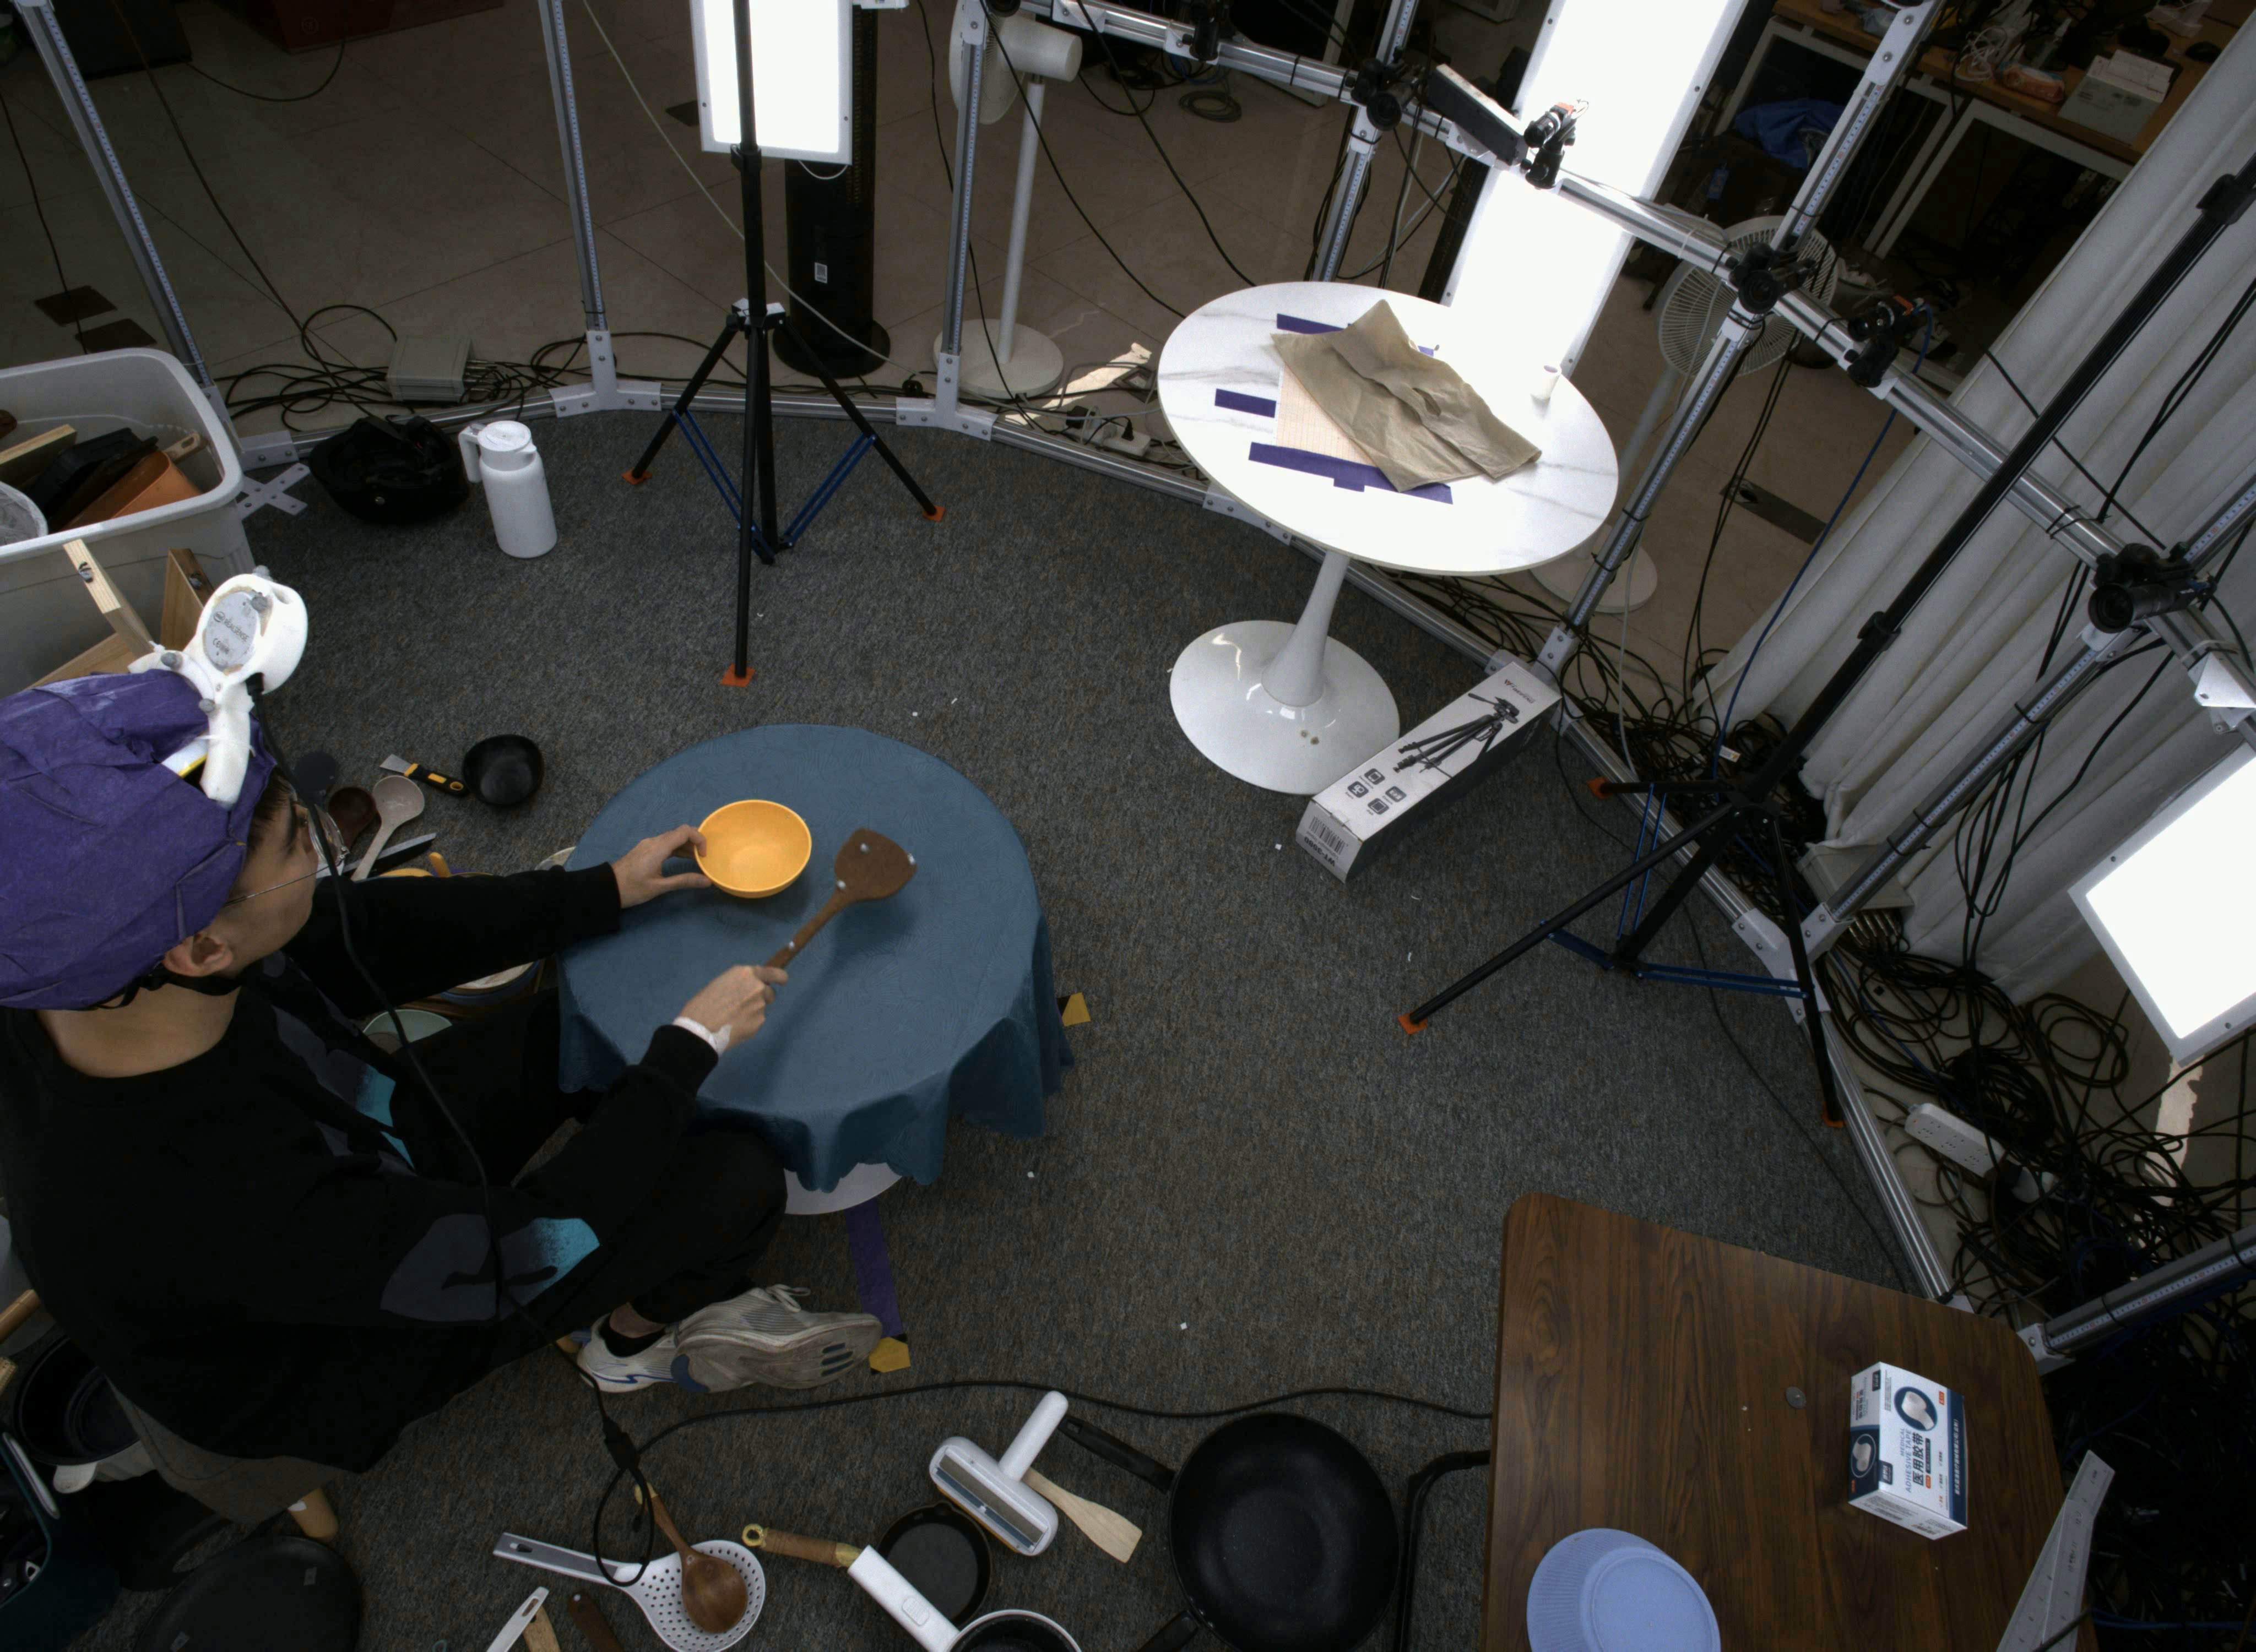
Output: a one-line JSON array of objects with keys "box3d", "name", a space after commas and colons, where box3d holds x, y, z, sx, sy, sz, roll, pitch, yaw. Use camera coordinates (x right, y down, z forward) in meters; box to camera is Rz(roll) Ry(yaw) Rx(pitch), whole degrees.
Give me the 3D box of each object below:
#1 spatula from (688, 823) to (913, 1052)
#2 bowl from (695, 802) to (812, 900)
[{"box3d": [-0.385, 0.125, 1.517, 0.096, 0.016, 0.384, 36, 46, 1], "name": "spatula"}, {"box3d": [-0.474, 0.041, 1.649, 0.145, 0.061, 0.142, 7, 51, -7], "name": "bowl"}]
